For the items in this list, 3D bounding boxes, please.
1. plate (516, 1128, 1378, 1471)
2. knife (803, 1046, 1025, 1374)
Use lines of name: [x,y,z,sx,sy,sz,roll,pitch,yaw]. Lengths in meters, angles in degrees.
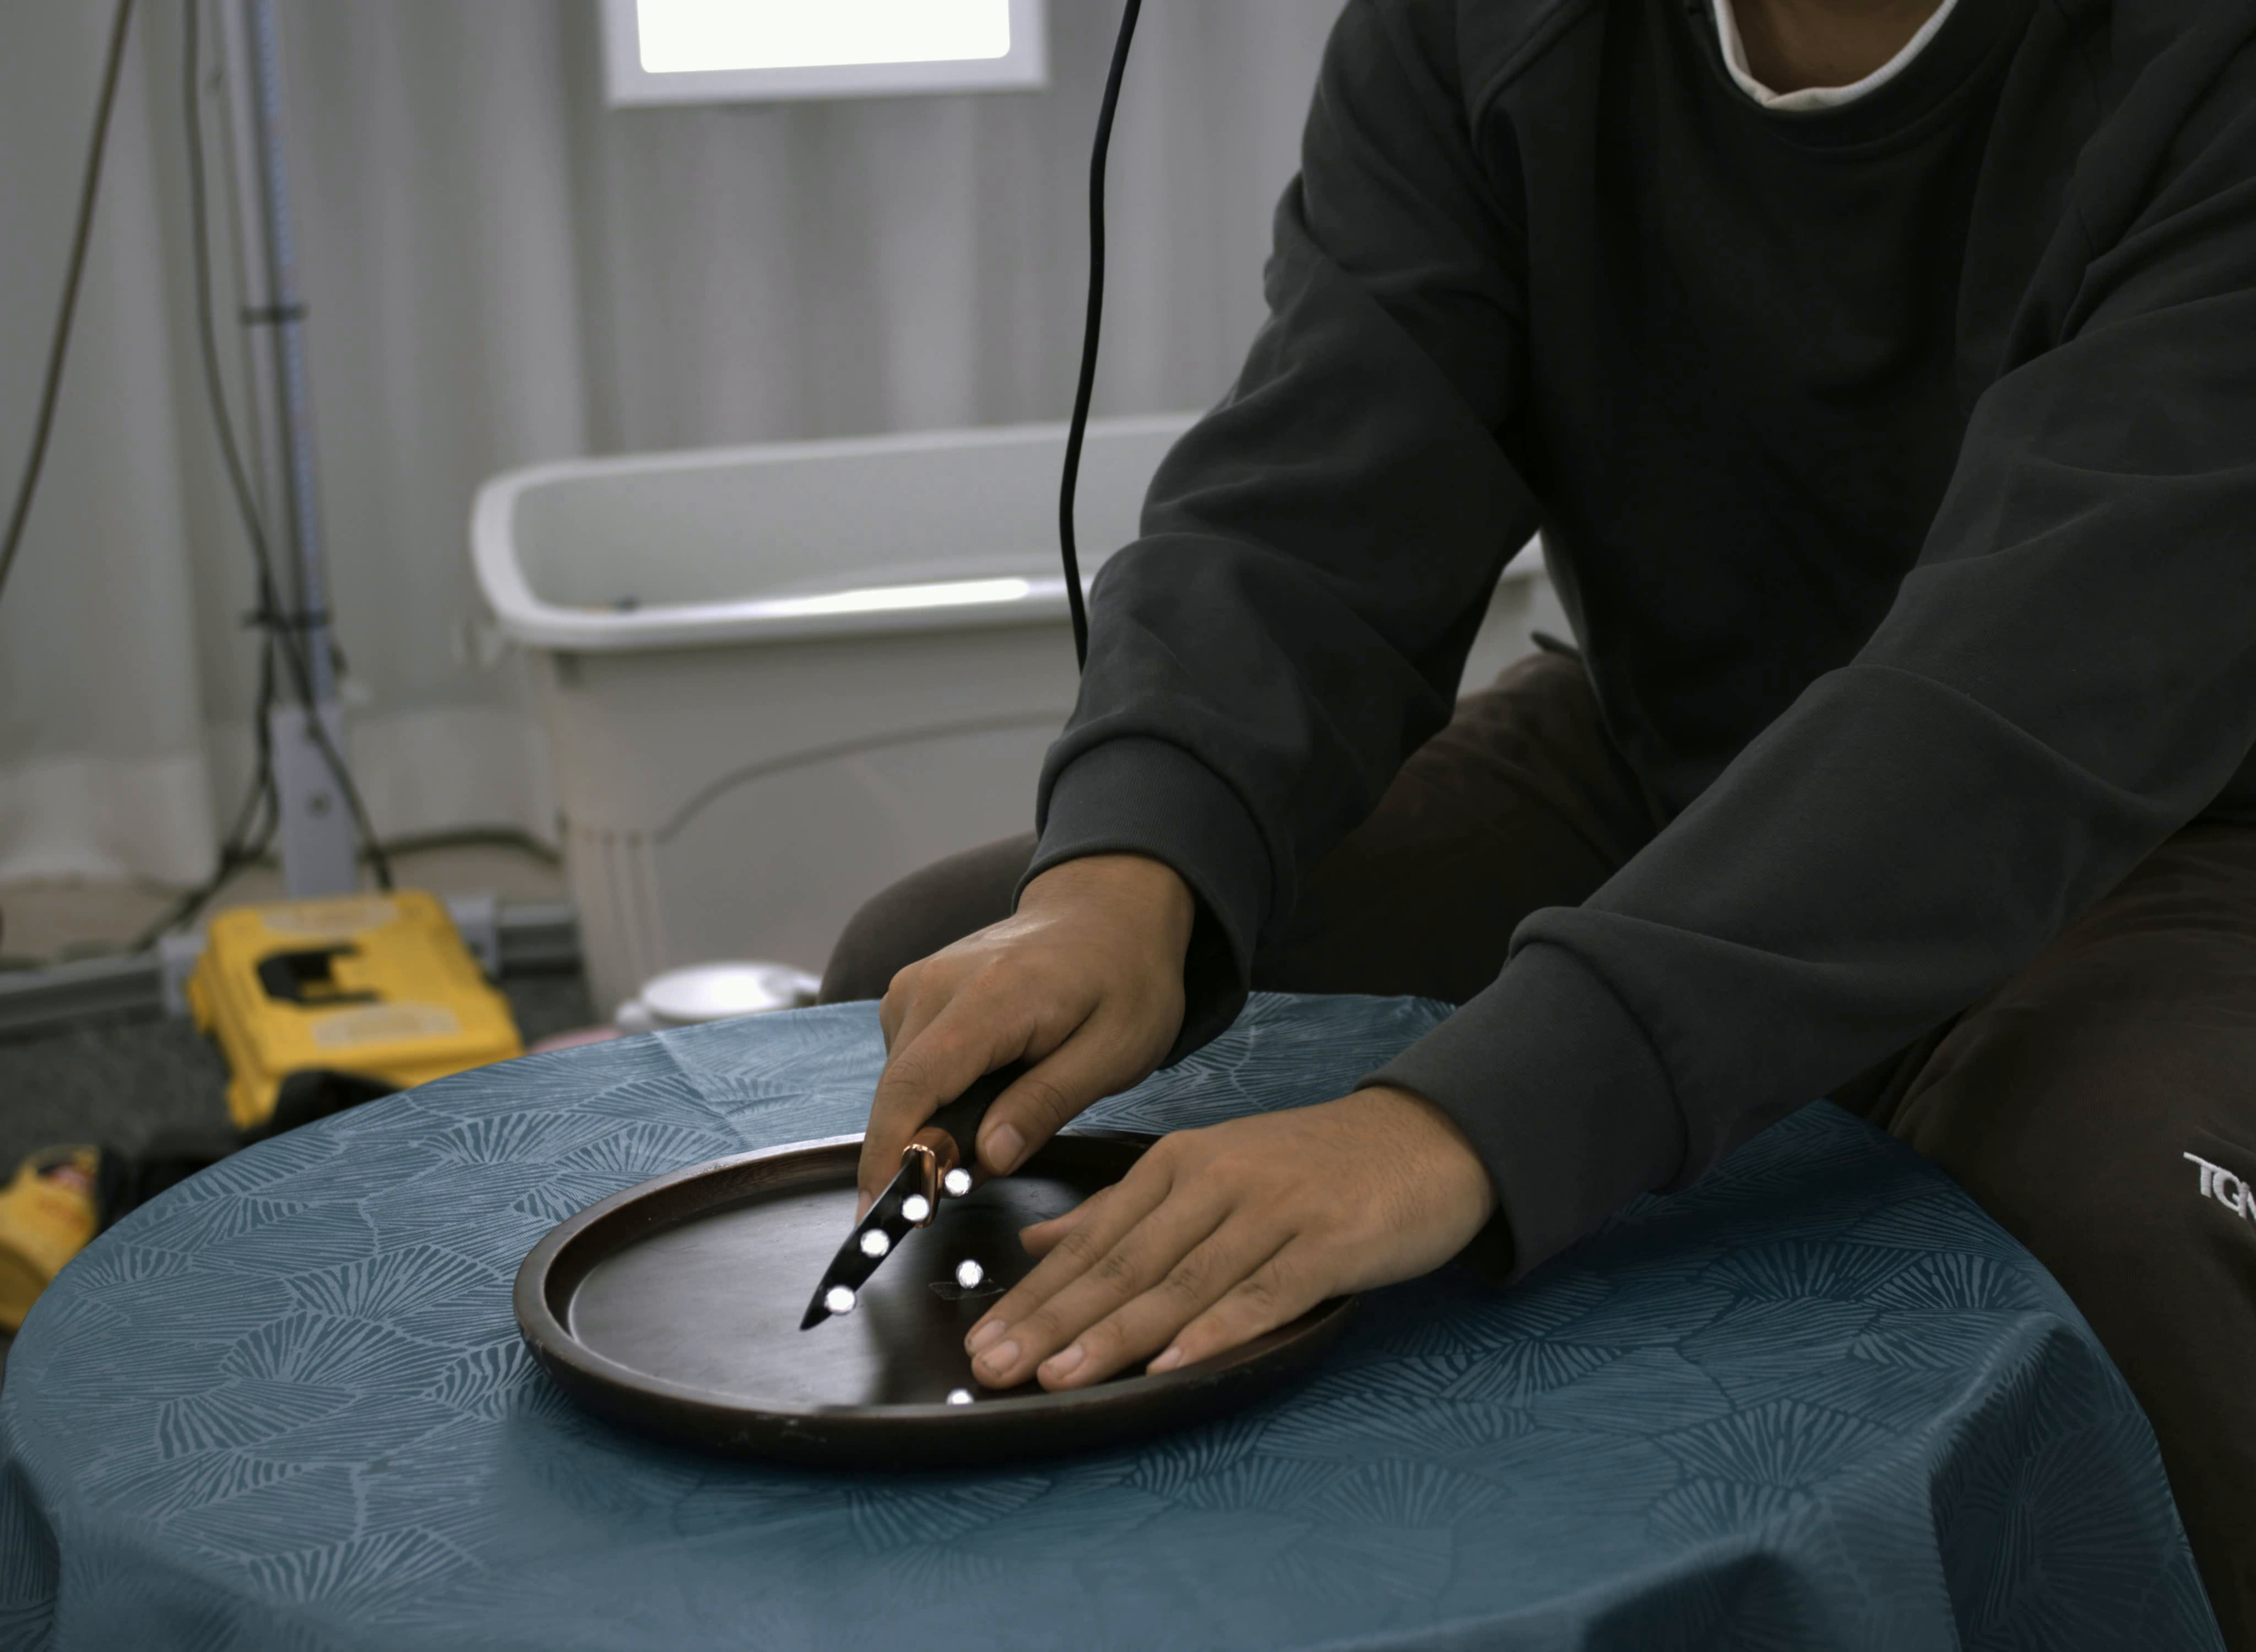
plate: [-0.052,0.136,1.600,0.254,0.029,0.256,-3,14,0]
knife: [-0.063,0.109,1.604,0.017,0.026,0.227,5,18,12]
